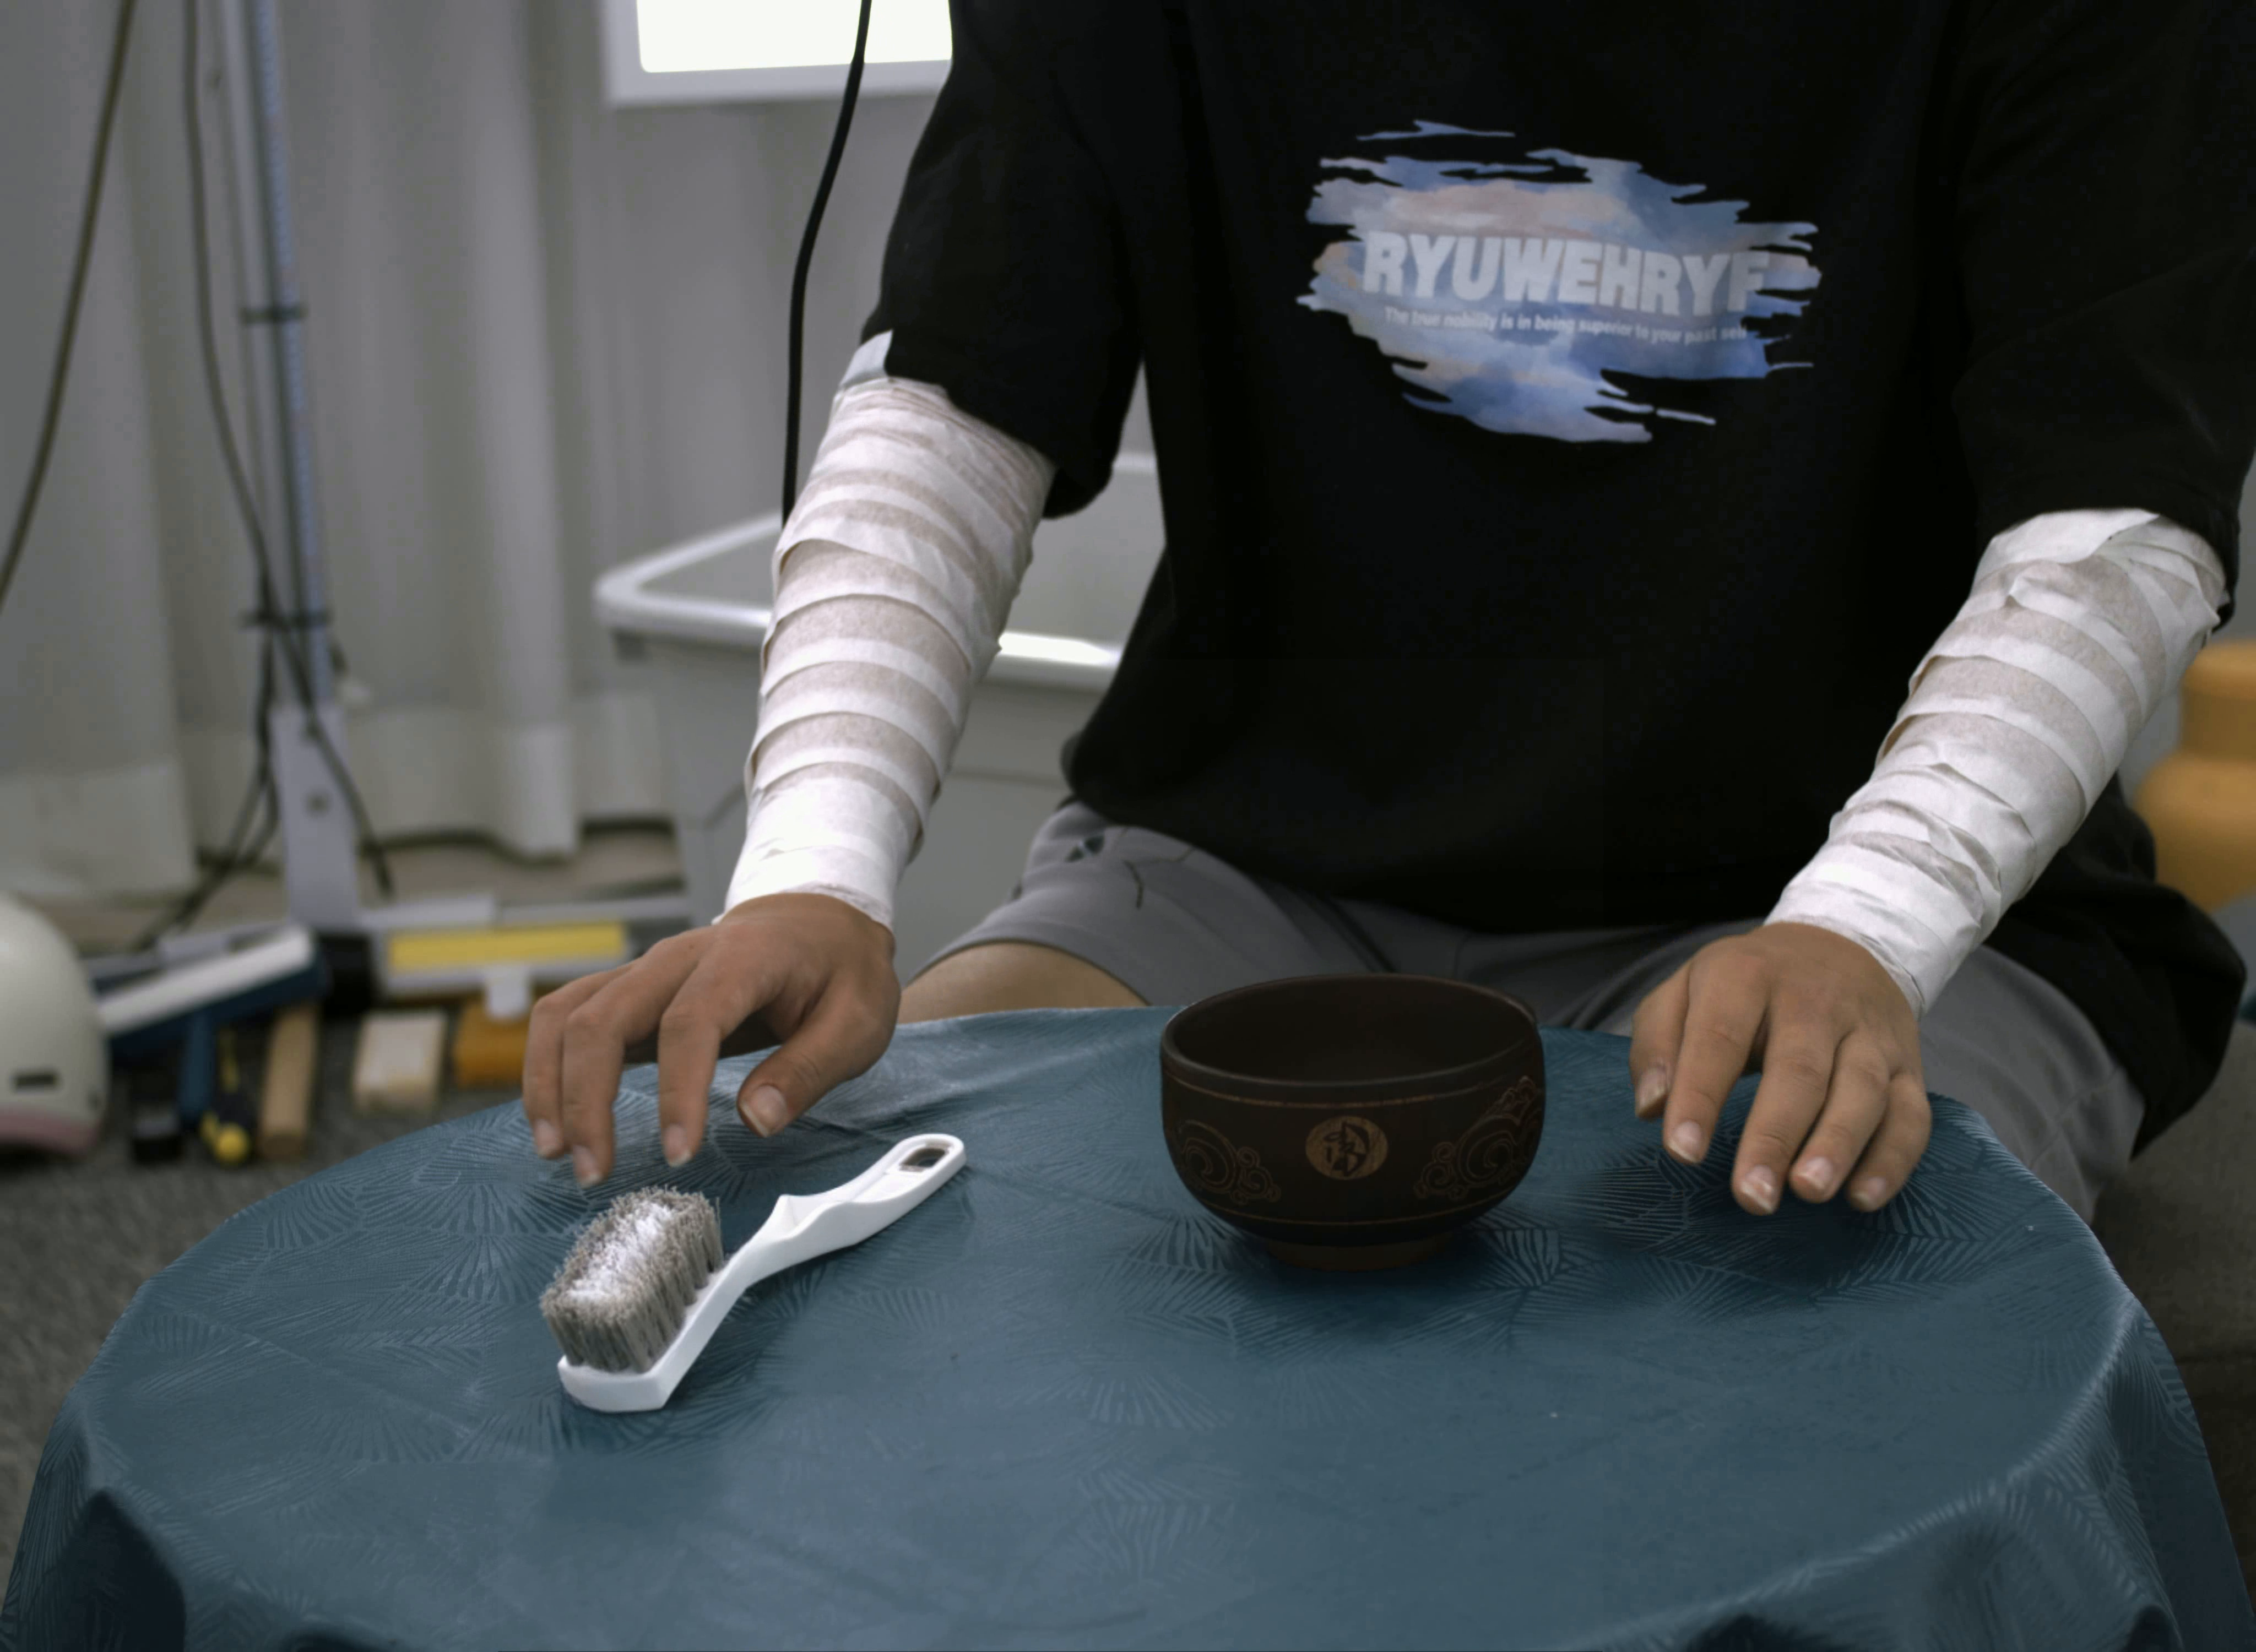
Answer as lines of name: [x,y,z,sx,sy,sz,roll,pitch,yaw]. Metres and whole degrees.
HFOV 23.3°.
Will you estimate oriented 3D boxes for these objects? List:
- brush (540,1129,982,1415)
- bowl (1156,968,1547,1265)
brush: [-0.104,0.114,1.637,0.034,0.050,0.244,5,17,24]
bowl: [0.068,0.091,1.647,0.117,0.069,0.119,-3,13,0]
